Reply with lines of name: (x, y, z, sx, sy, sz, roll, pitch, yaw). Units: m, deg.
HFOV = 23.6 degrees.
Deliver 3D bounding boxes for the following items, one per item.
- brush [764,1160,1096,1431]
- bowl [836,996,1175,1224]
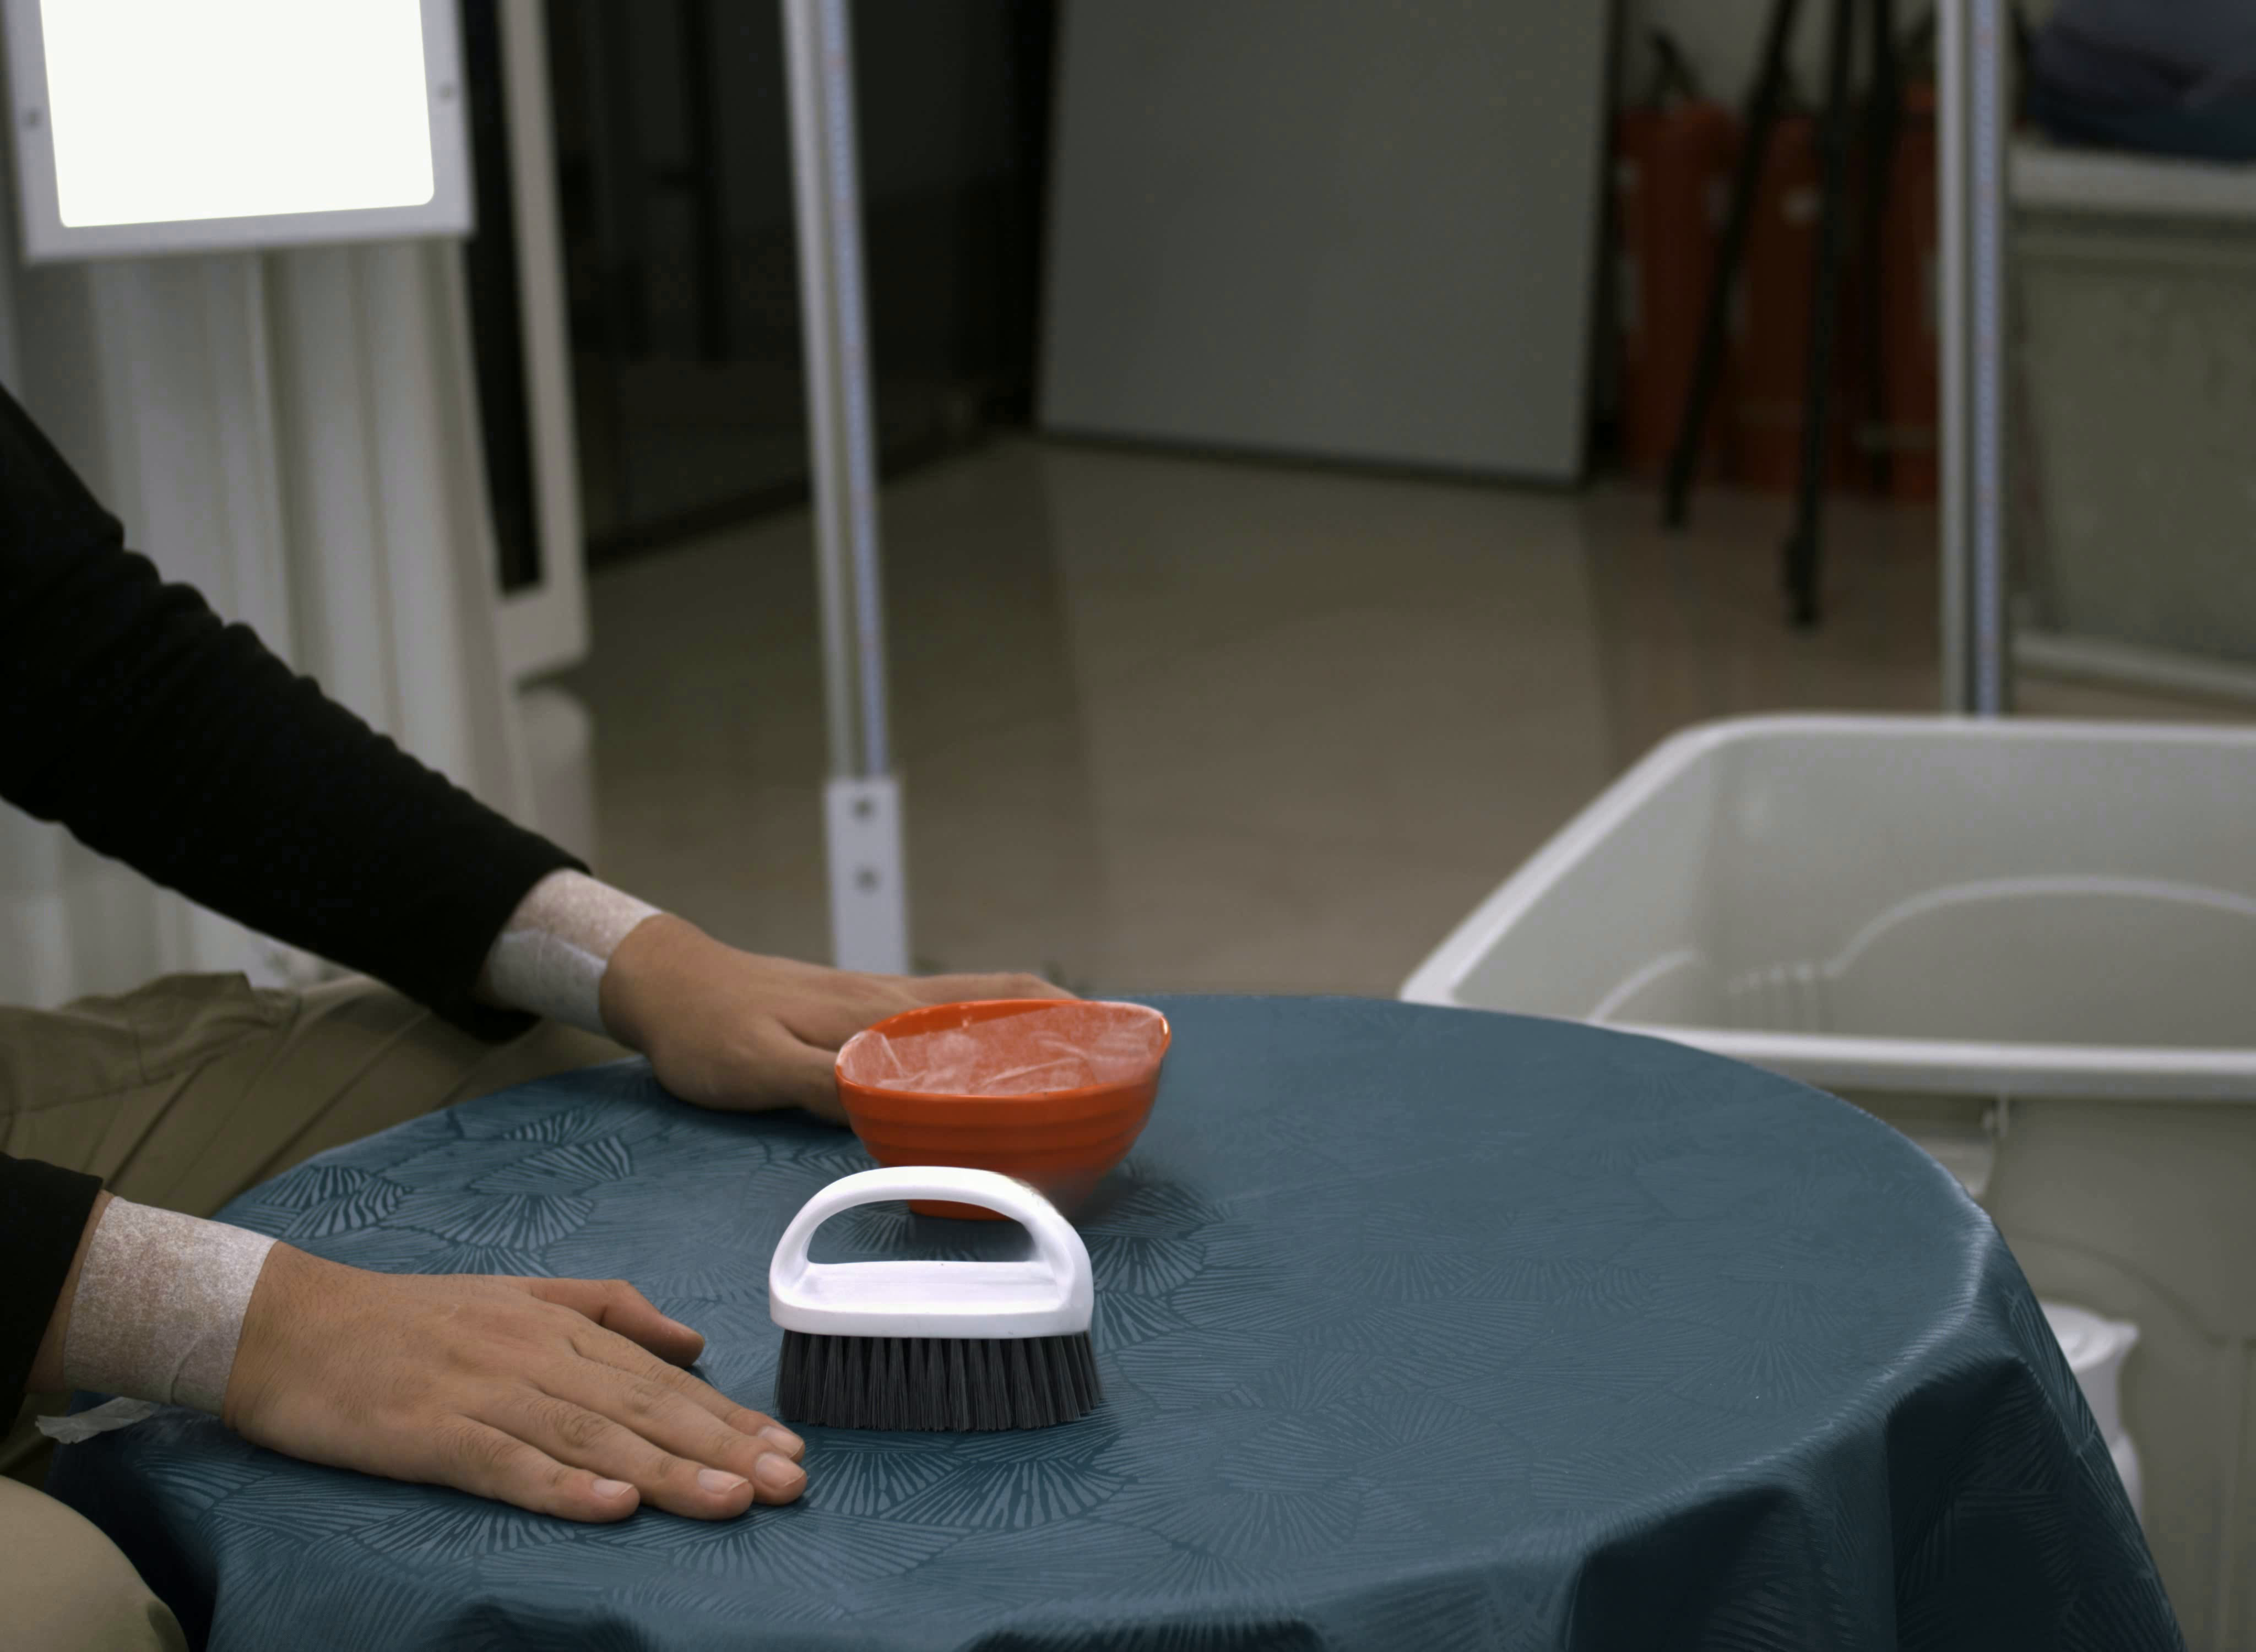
brush: (-0.059, 0.134, 1.578, 0.099, 0.073, 0.050, 0, 14, 16)
bowl: (-0.039, 0.096, 1.775, 0.117, 0.052, 0.119, -3, 15, 0)
